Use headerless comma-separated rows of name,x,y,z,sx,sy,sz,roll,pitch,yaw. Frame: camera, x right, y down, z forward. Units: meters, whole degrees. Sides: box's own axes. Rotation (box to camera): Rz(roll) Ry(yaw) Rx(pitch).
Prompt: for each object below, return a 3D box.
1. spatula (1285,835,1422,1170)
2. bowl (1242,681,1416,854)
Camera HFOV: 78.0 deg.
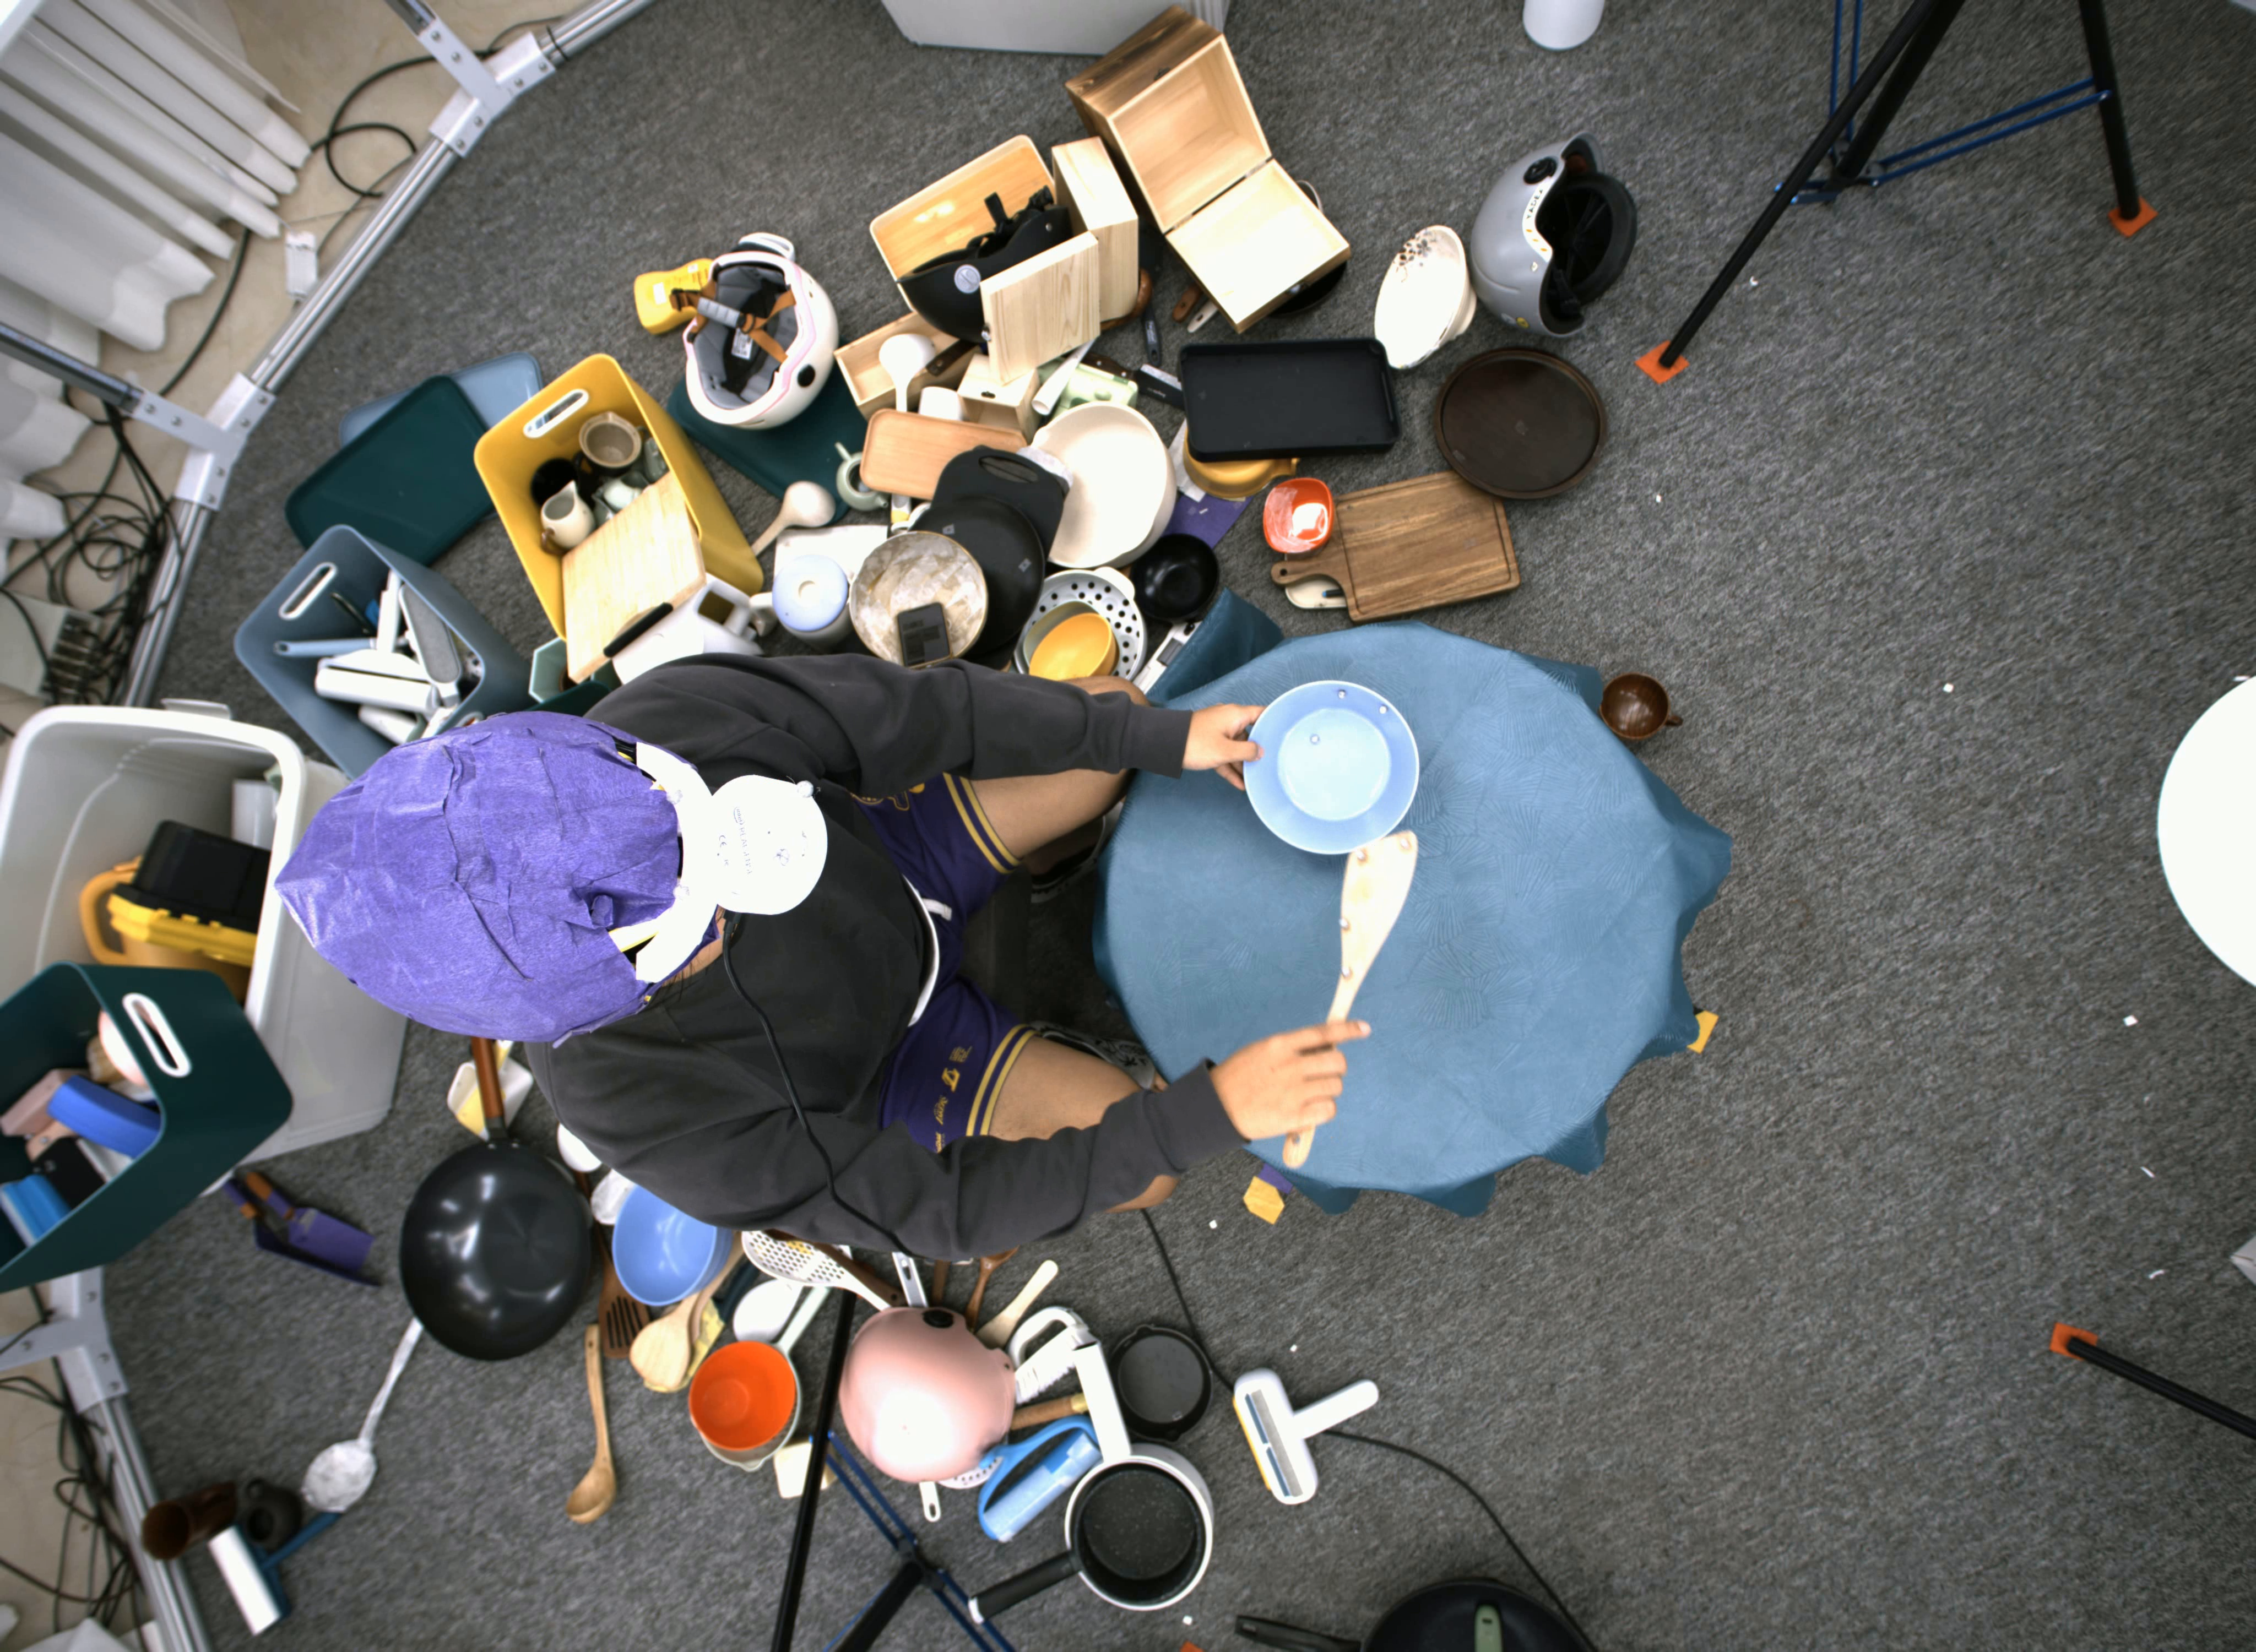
spatula,0.196,0.153,1.253,0.080,0.016,0.322,-3,59,50
bowl,0.208,-0.062,1.418,0.177,0.069,0.177,1,98,13
